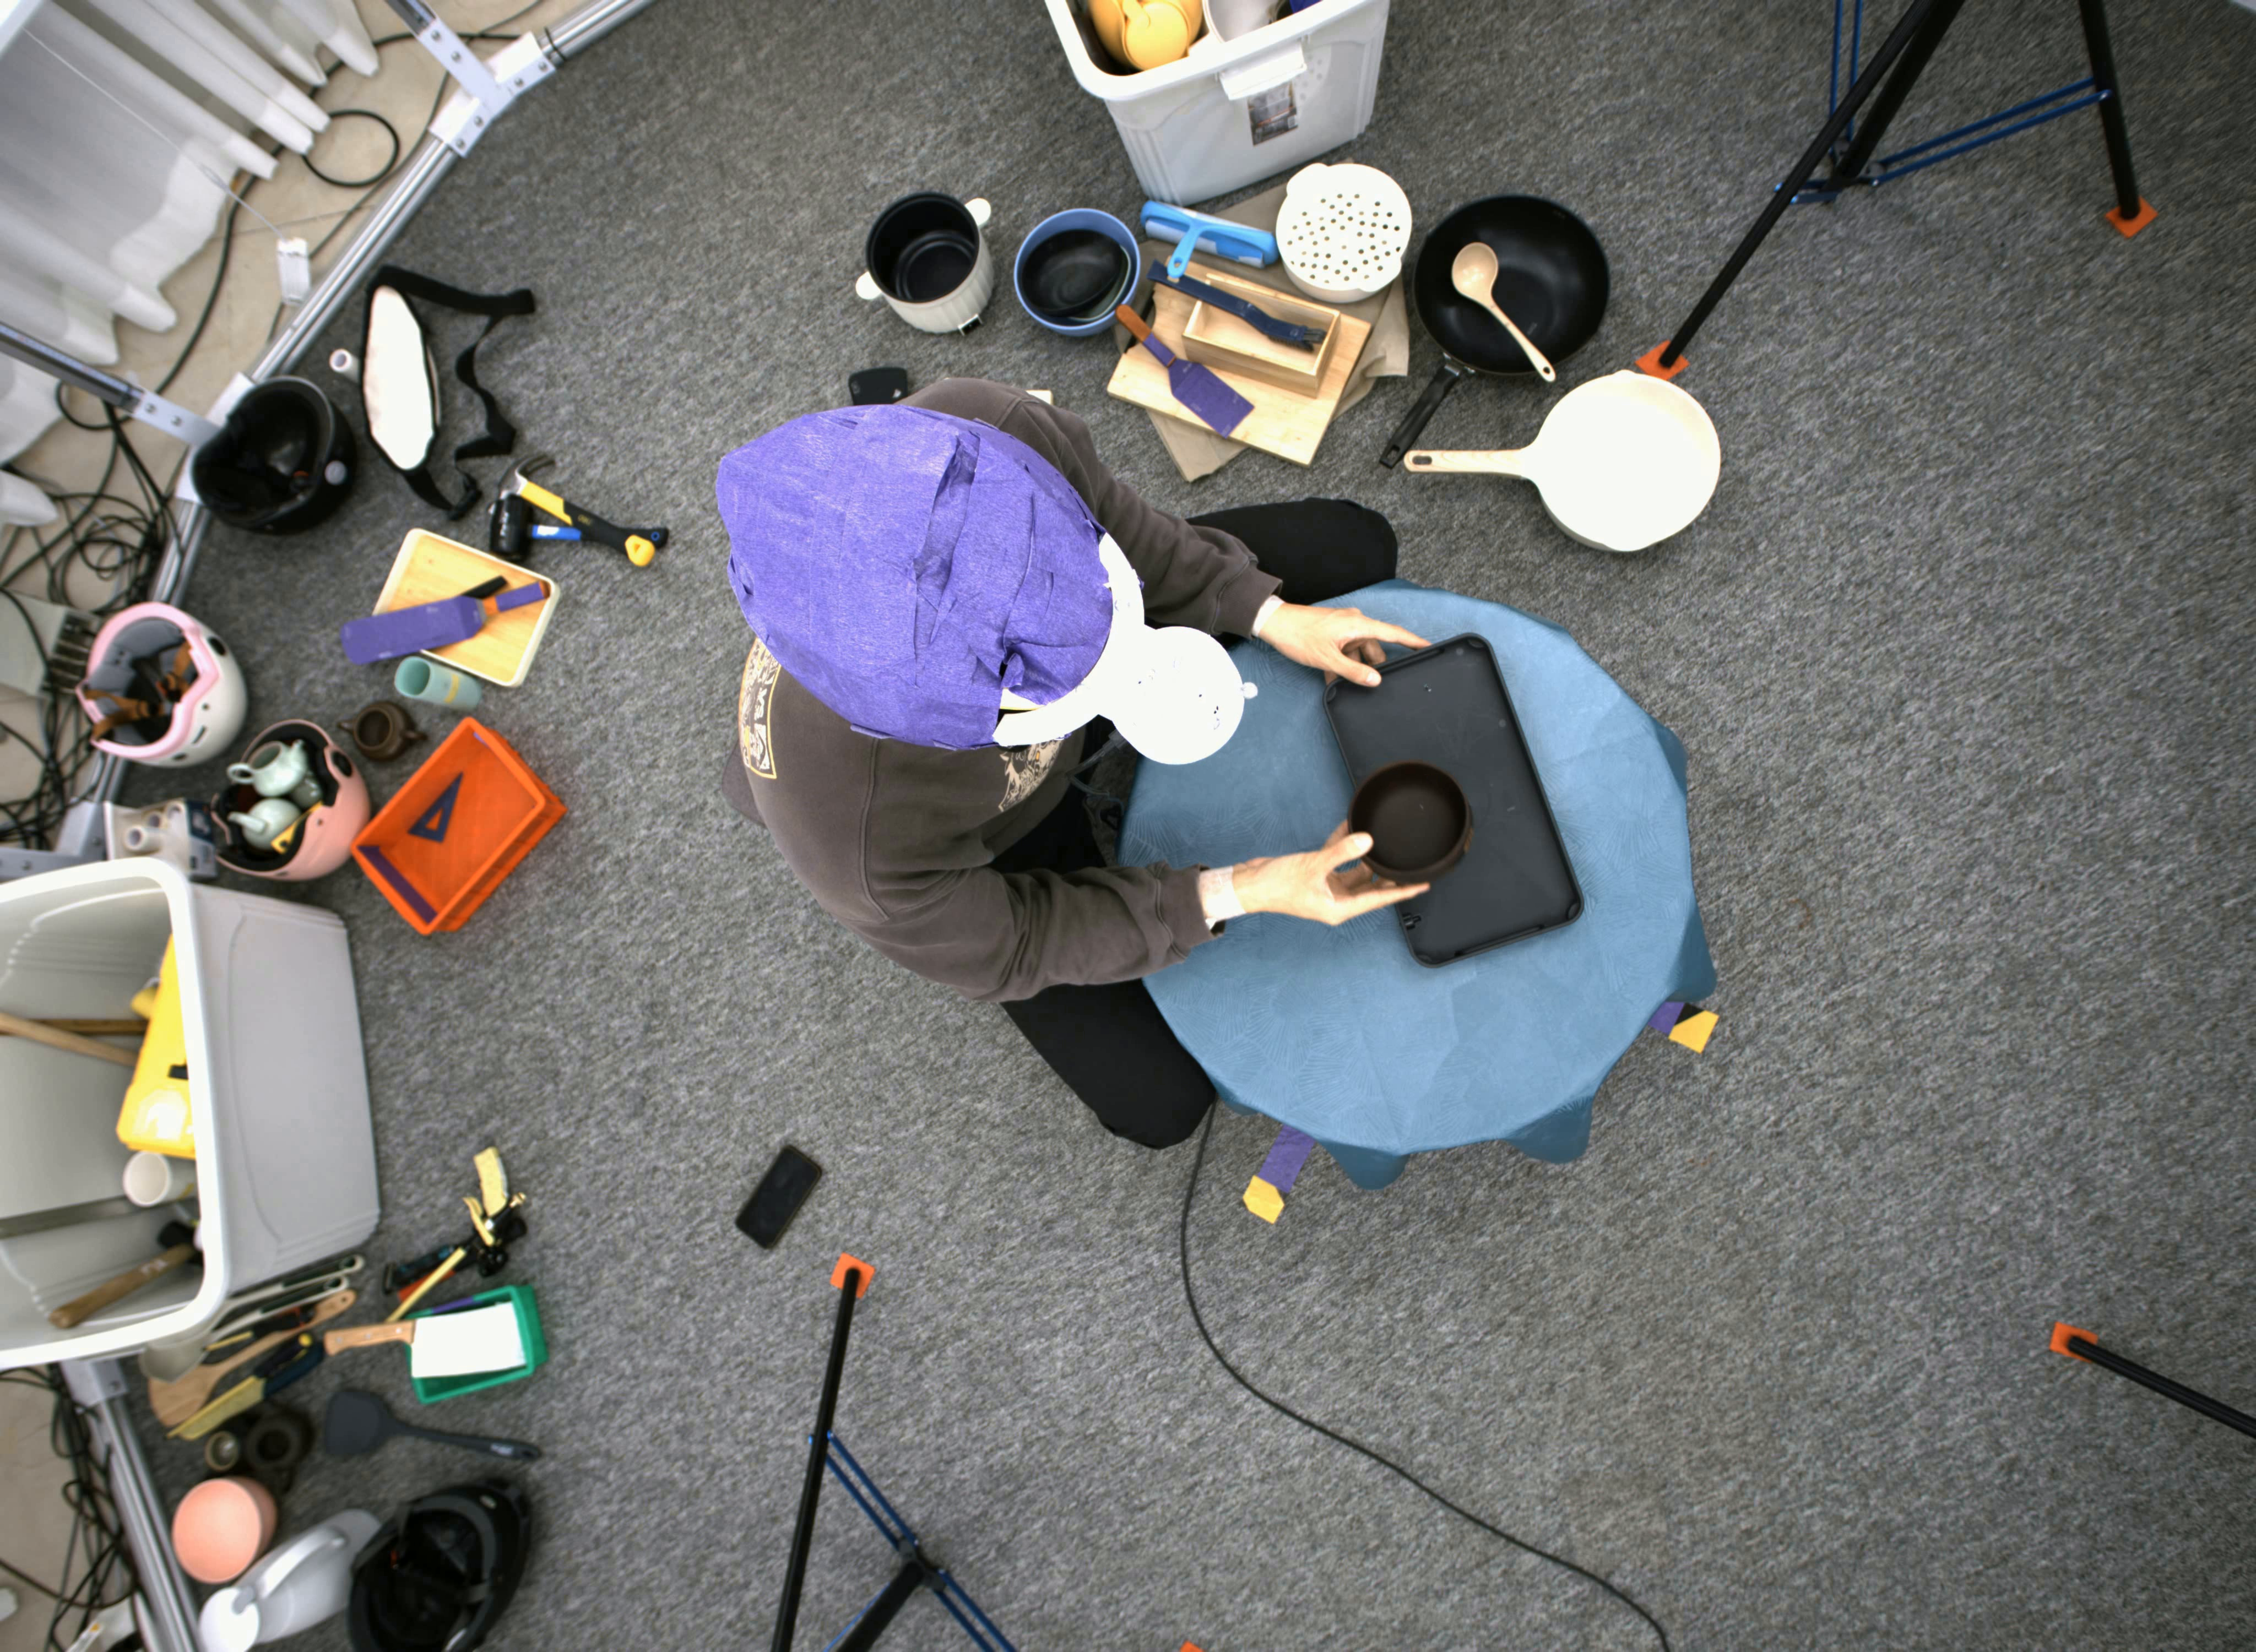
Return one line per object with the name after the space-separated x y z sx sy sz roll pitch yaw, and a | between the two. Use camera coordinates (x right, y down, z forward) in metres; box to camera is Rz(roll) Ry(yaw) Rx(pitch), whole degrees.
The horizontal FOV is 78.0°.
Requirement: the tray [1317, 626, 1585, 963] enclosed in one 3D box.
0.333 -0.034 1.426 0.185 0.037 0.317 -21 87 10 | tray

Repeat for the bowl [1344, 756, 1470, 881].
0.270 -0.003 1.321 0.119 0.070 0.116 -7 71 20 | bowl
